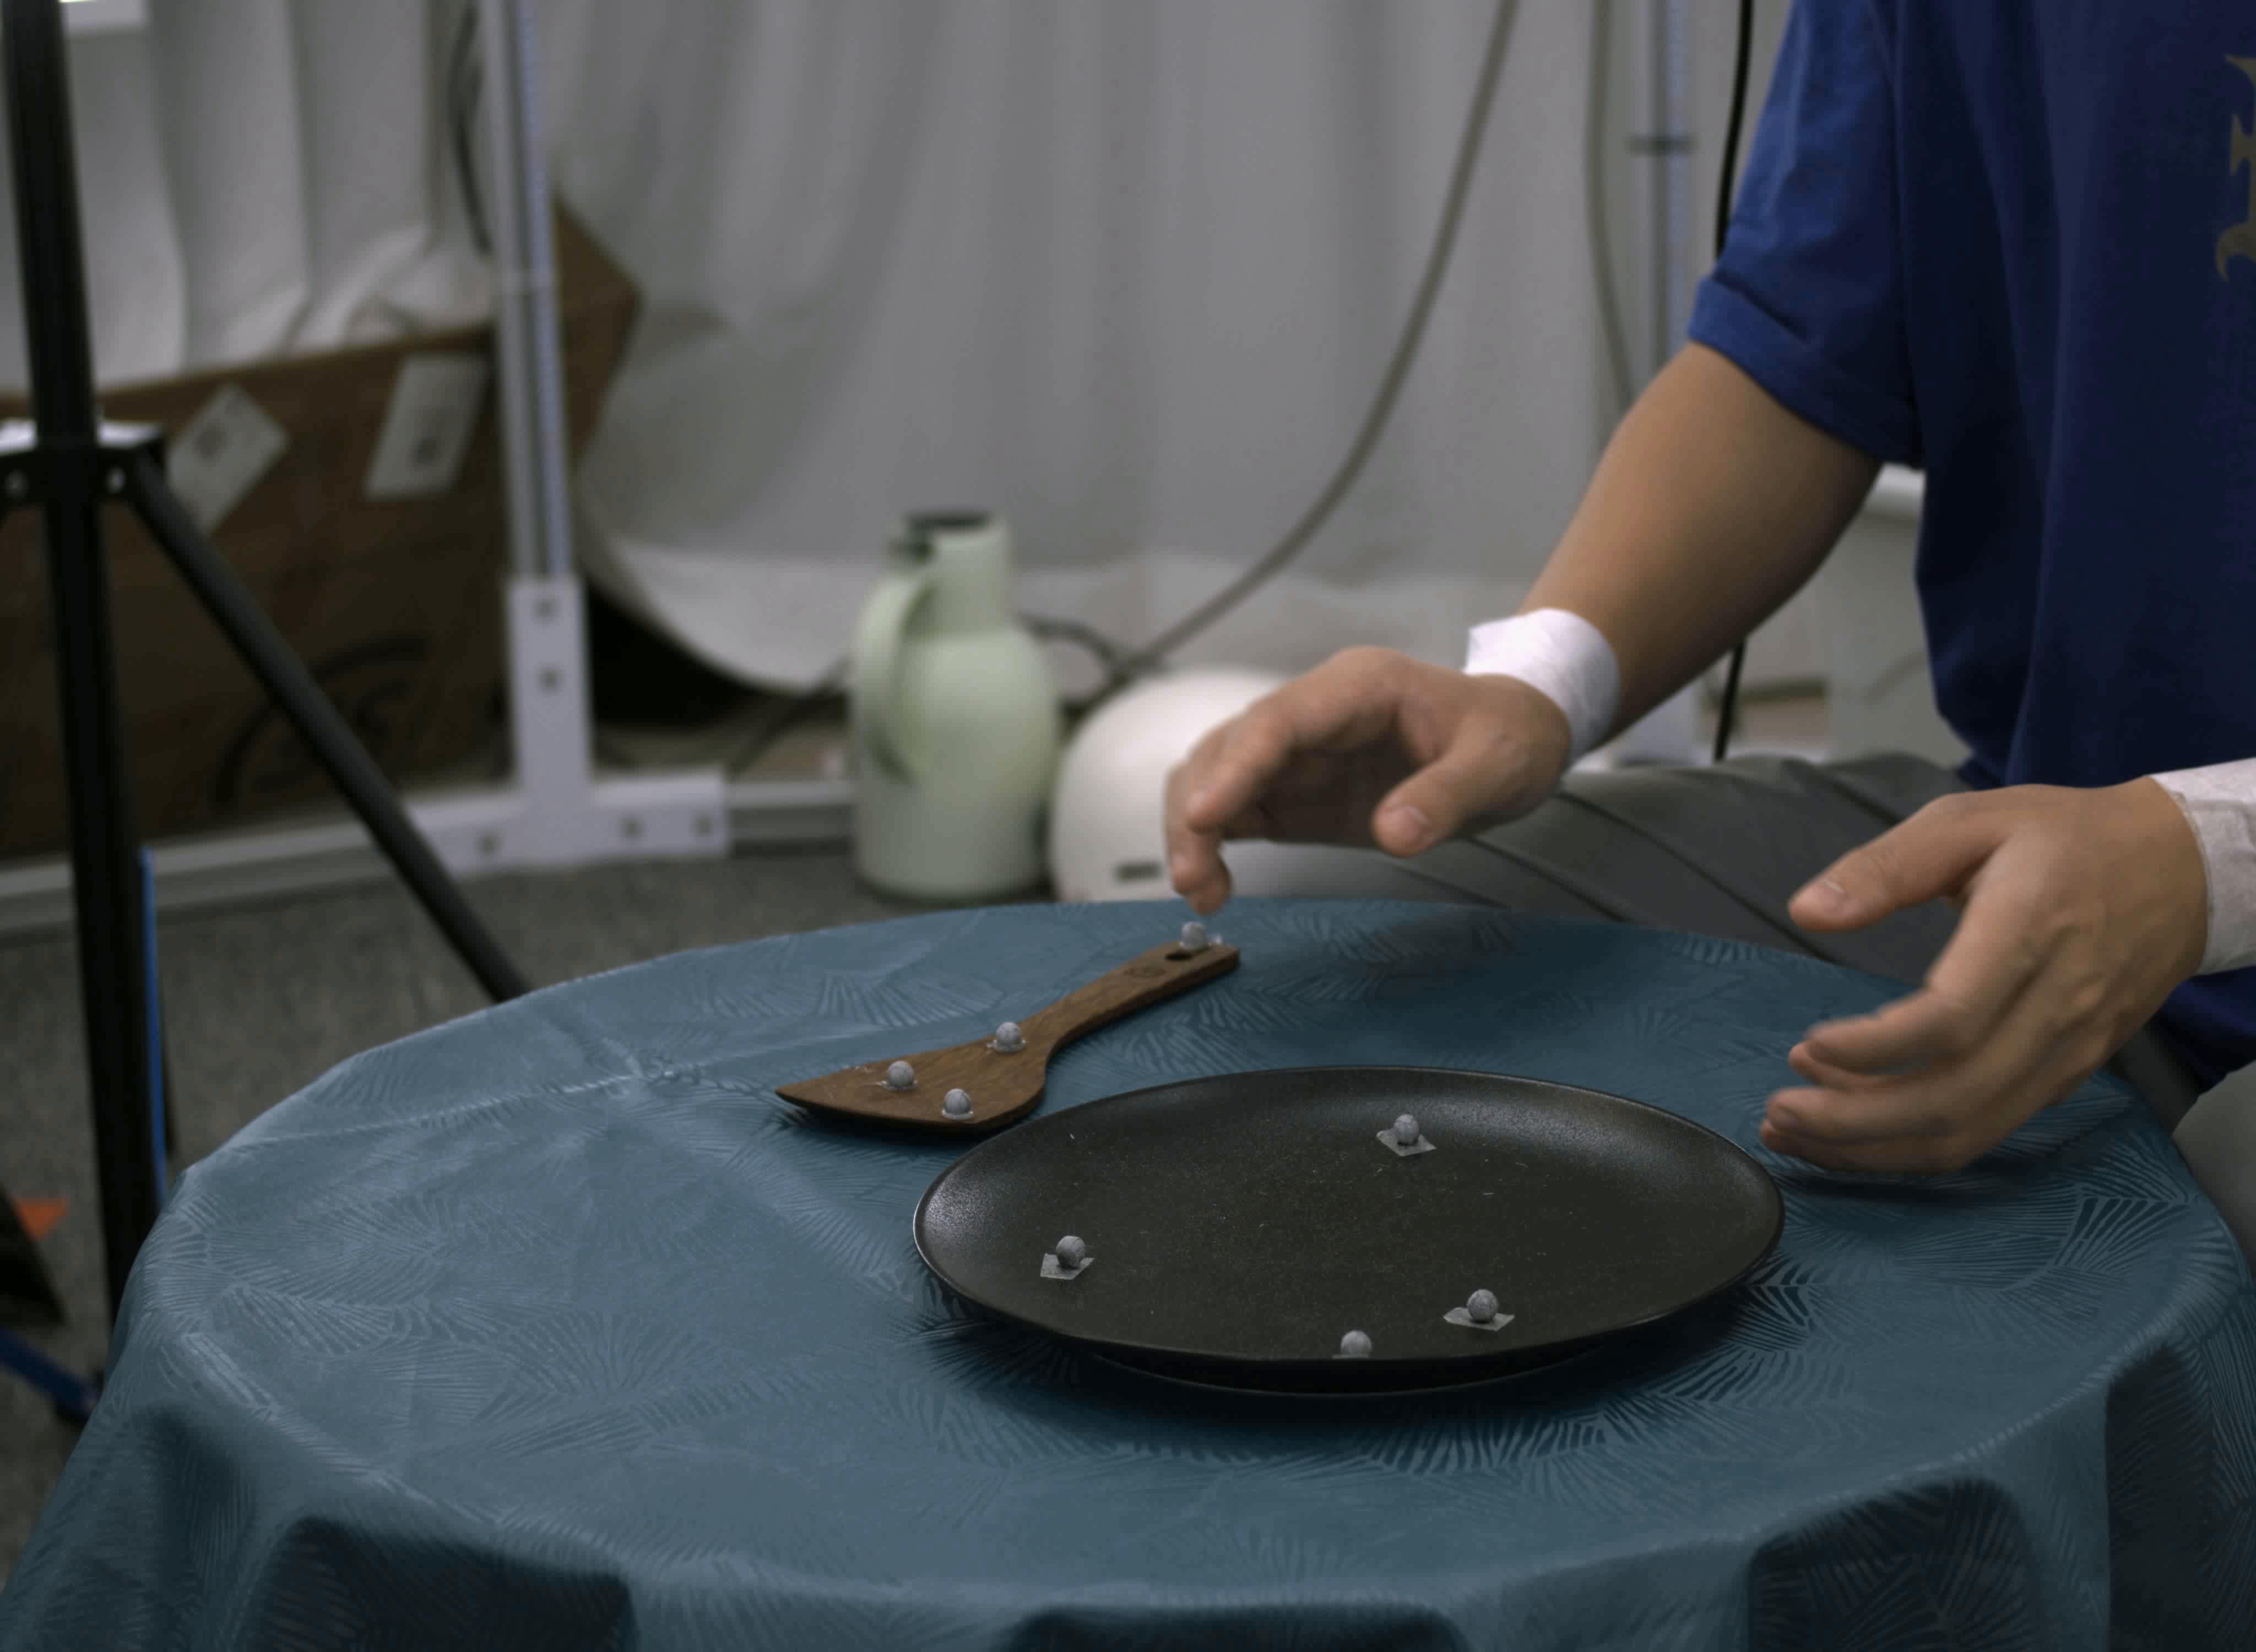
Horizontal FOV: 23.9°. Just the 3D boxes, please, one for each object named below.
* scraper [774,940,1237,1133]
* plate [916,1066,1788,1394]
[{"bbox_3d":[-0.027,0.066,1.696,0.077,0.011,0.207,8,18,32],"label":"scraper"},{"bbox_3d":[0.062,0.115,1.480,0.243,0.023,0.245,-3,16,-1],"label":"plate"}]
